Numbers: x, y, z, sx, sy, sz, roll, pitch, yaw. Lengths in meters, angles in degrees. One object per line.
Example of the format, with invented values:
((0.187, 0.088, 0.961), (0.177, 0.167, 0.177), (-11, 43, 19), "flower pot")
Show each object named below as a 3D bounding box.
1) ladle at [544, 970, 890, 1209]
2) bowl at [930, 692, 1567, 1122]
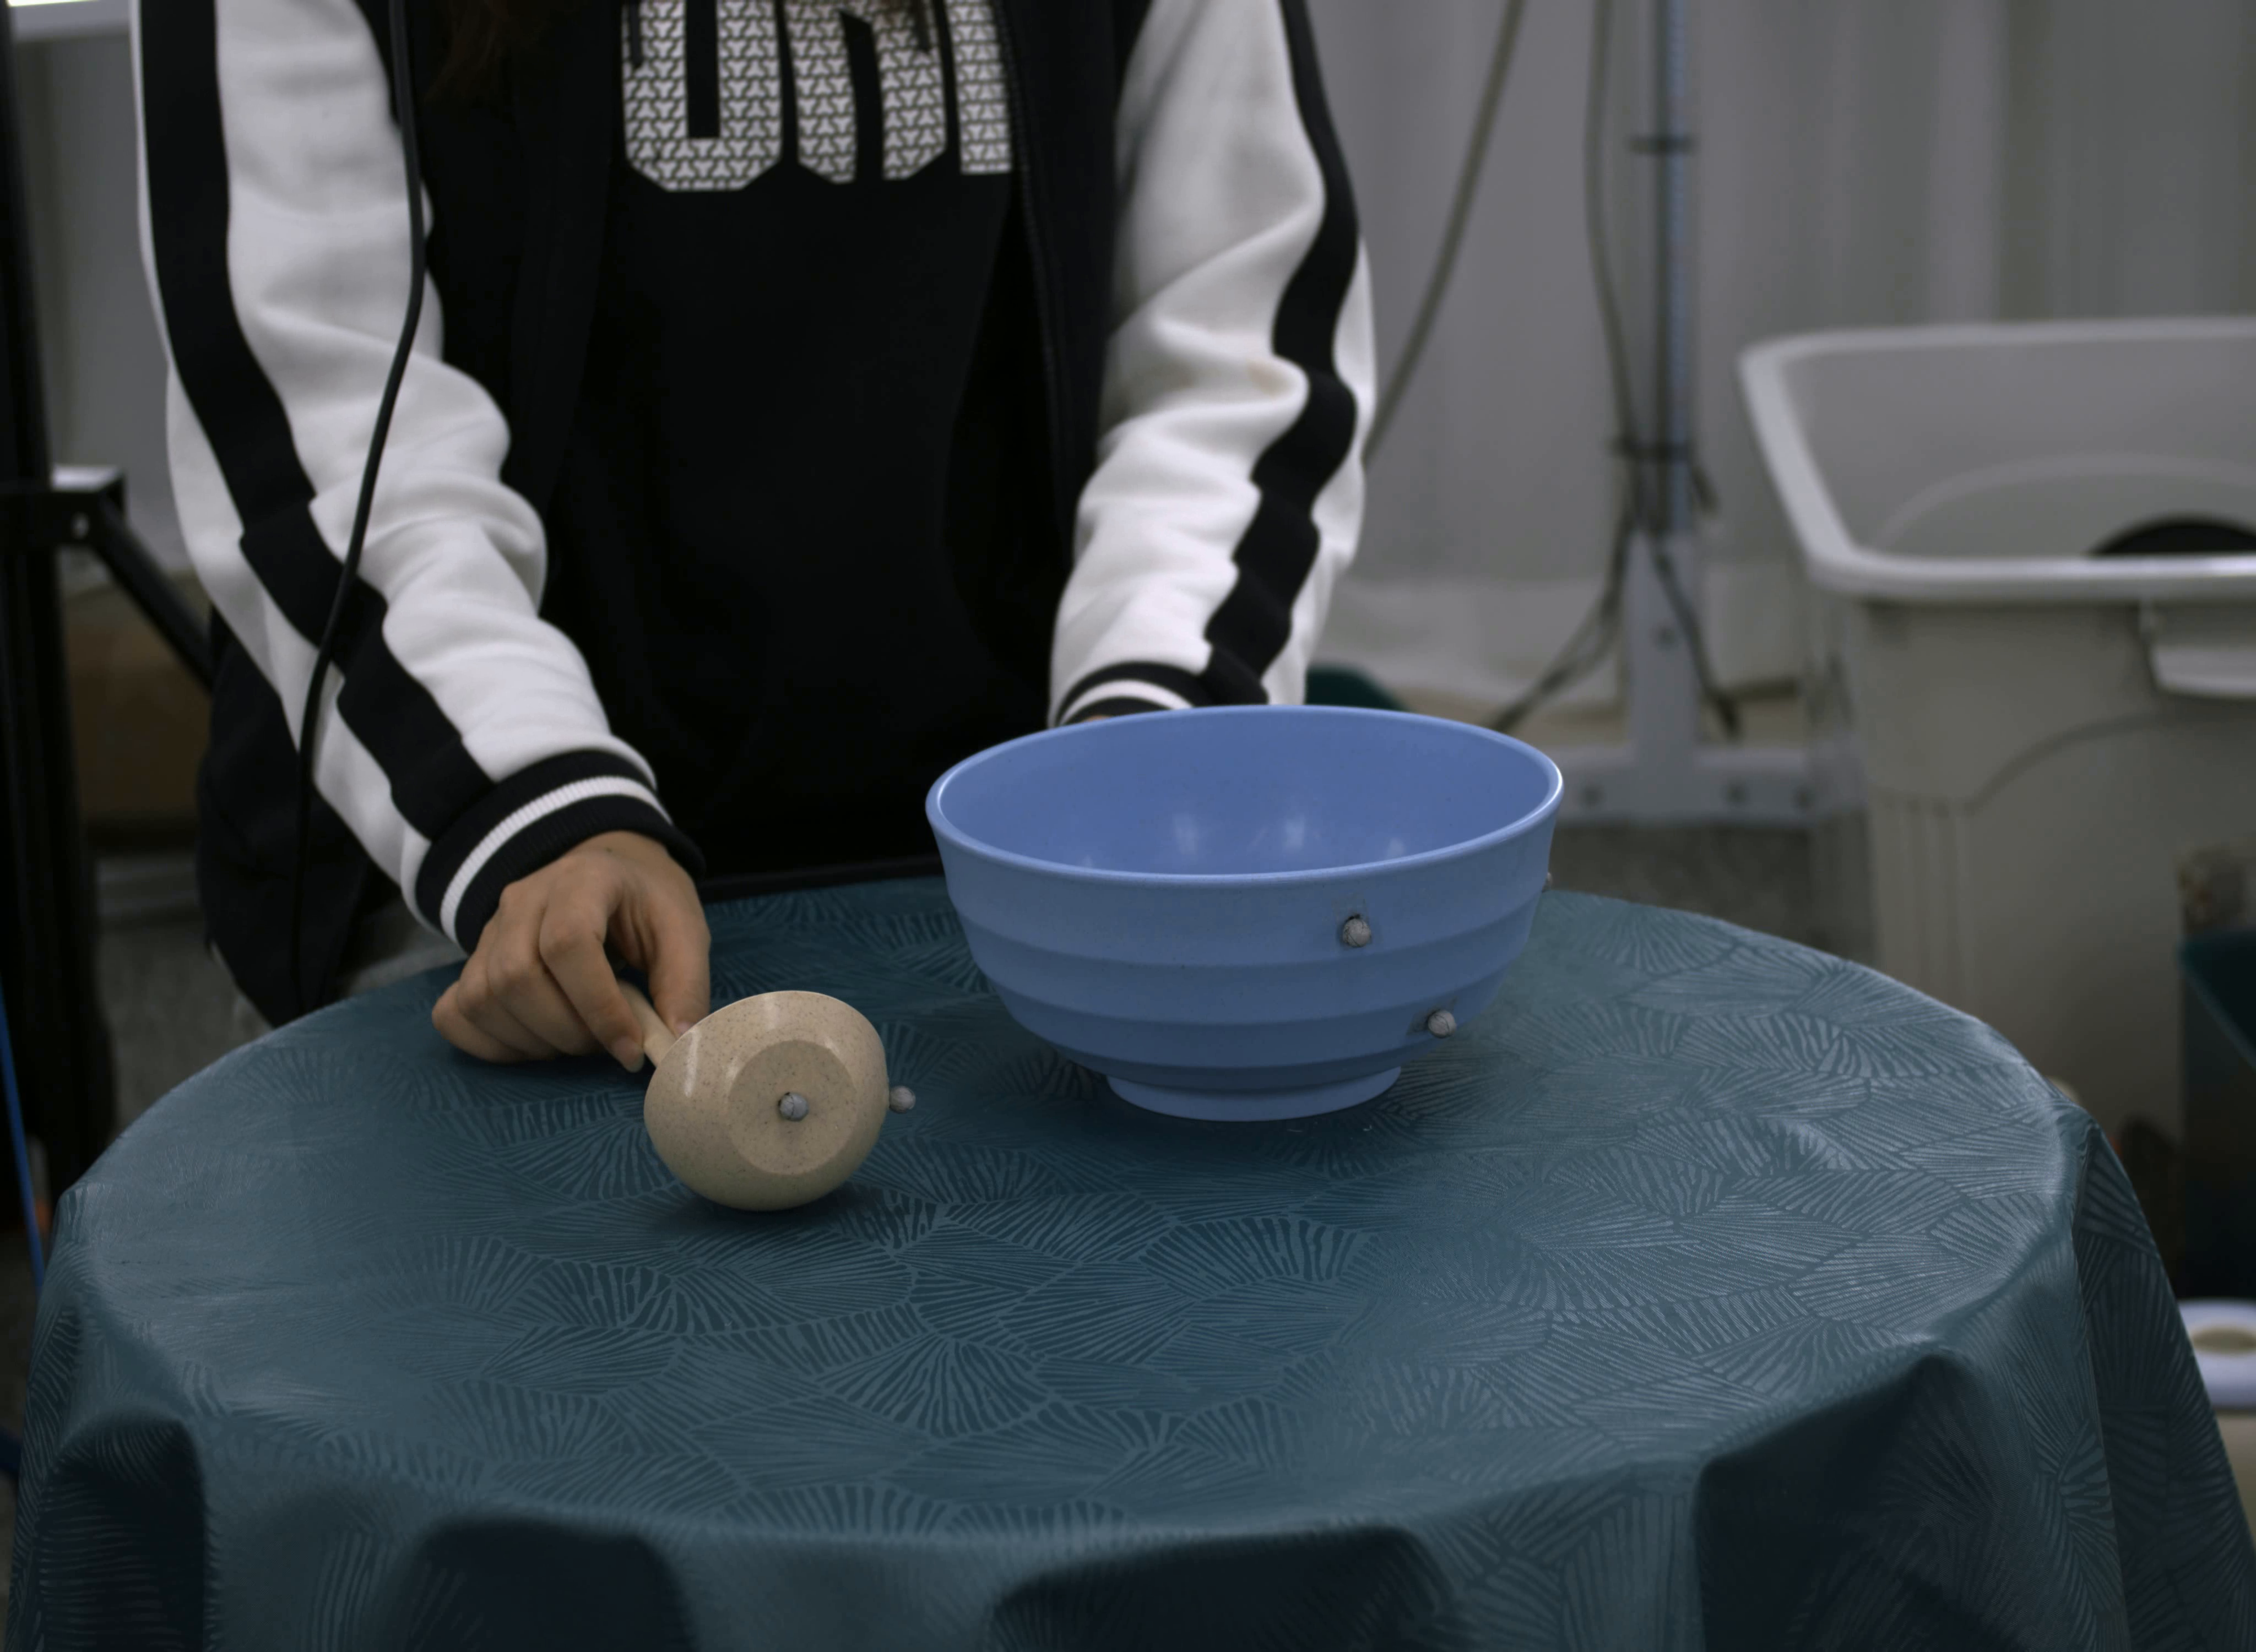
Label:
((-0.139, 0.051, 1.640), (0.071, 0.073, 0.259), (-2, 16, -21), "ladle")
((0.037, 0.031, 1.645), (0.195, 0.095, 0.197), (-2, 18, -1), "bowl")
